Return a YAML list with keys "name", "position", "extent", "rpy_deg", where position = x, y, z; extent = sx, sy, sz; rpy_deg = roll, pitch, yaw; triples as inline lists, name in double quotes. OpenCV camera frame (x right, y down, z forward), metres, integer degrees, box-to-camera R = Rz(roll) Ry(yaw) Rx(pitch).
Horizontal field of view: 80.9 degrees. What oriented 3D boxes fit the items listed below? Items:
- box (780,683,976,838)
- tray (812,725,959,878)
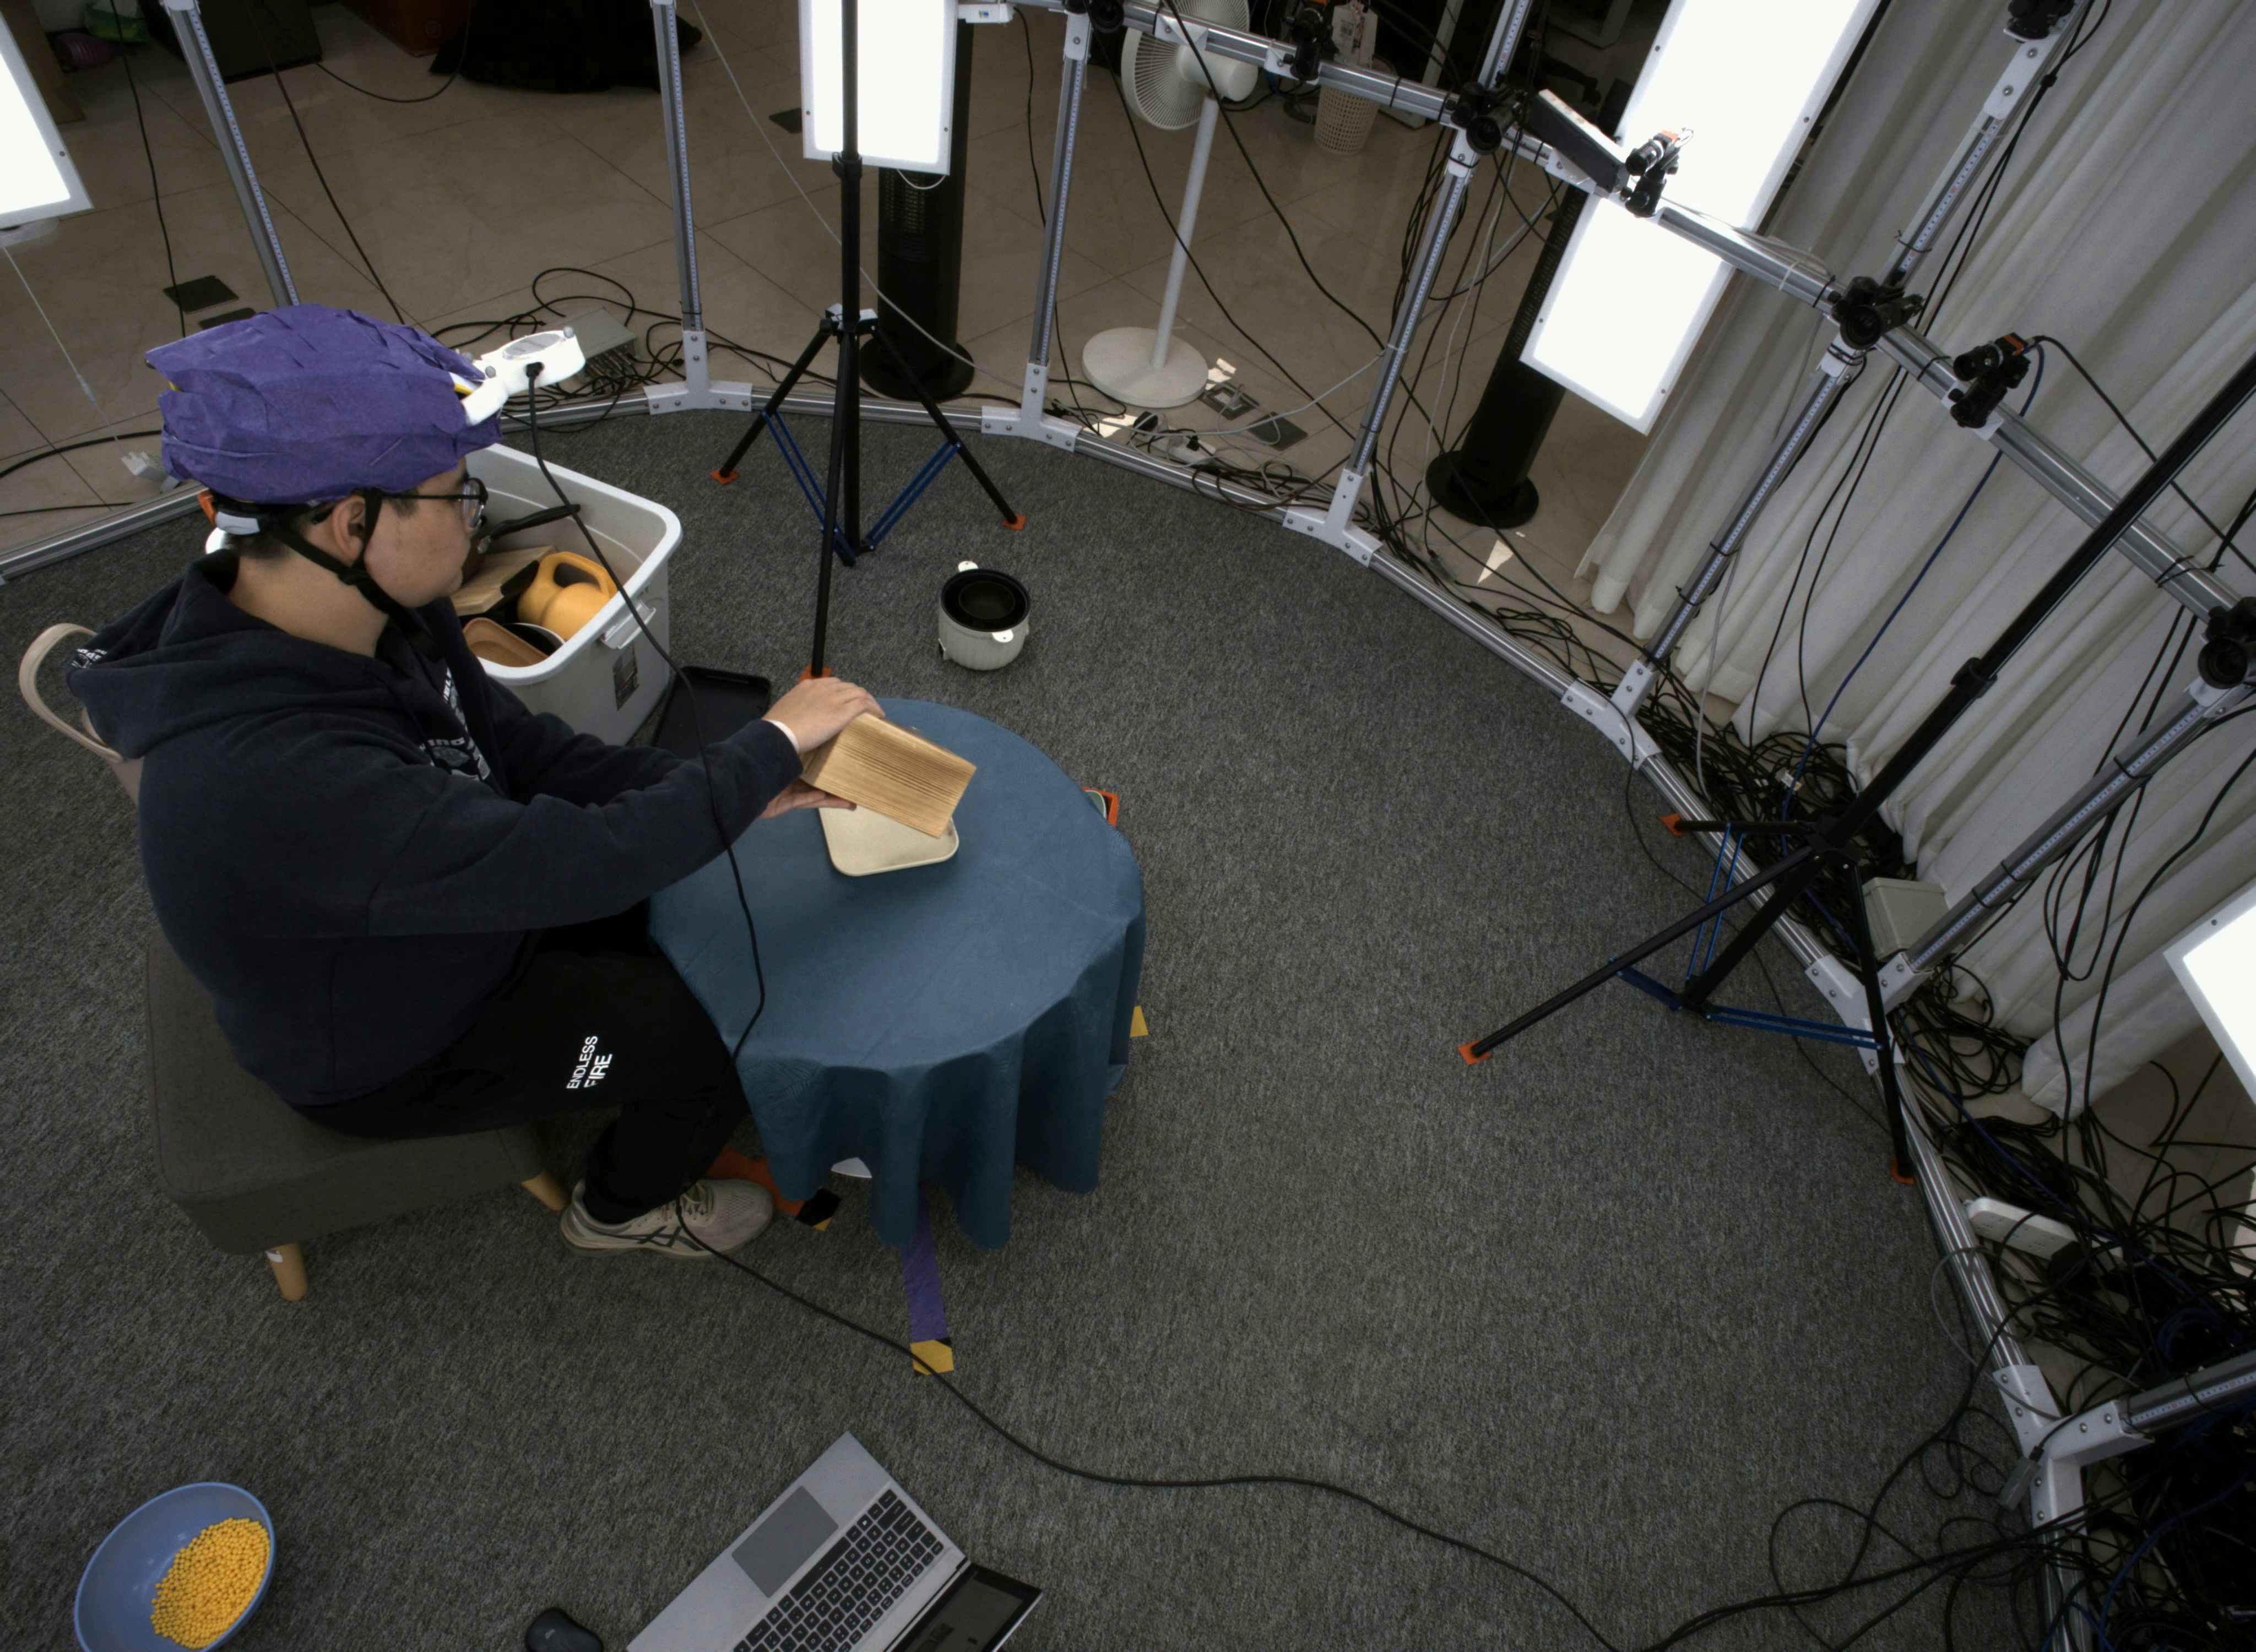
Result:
- name: "box"
  position: [-0.305, -0.078, 1.599]
  extent: [0.077, 0.218, 0.108]
  rpy_deg: [28, 90, 41]
- name: "tray"
  position: [-0.334, -0.035, 1.759]
  extent: [0.172, 0.018, 0.234]
  rpy_deg: [-10, 57, -20]
